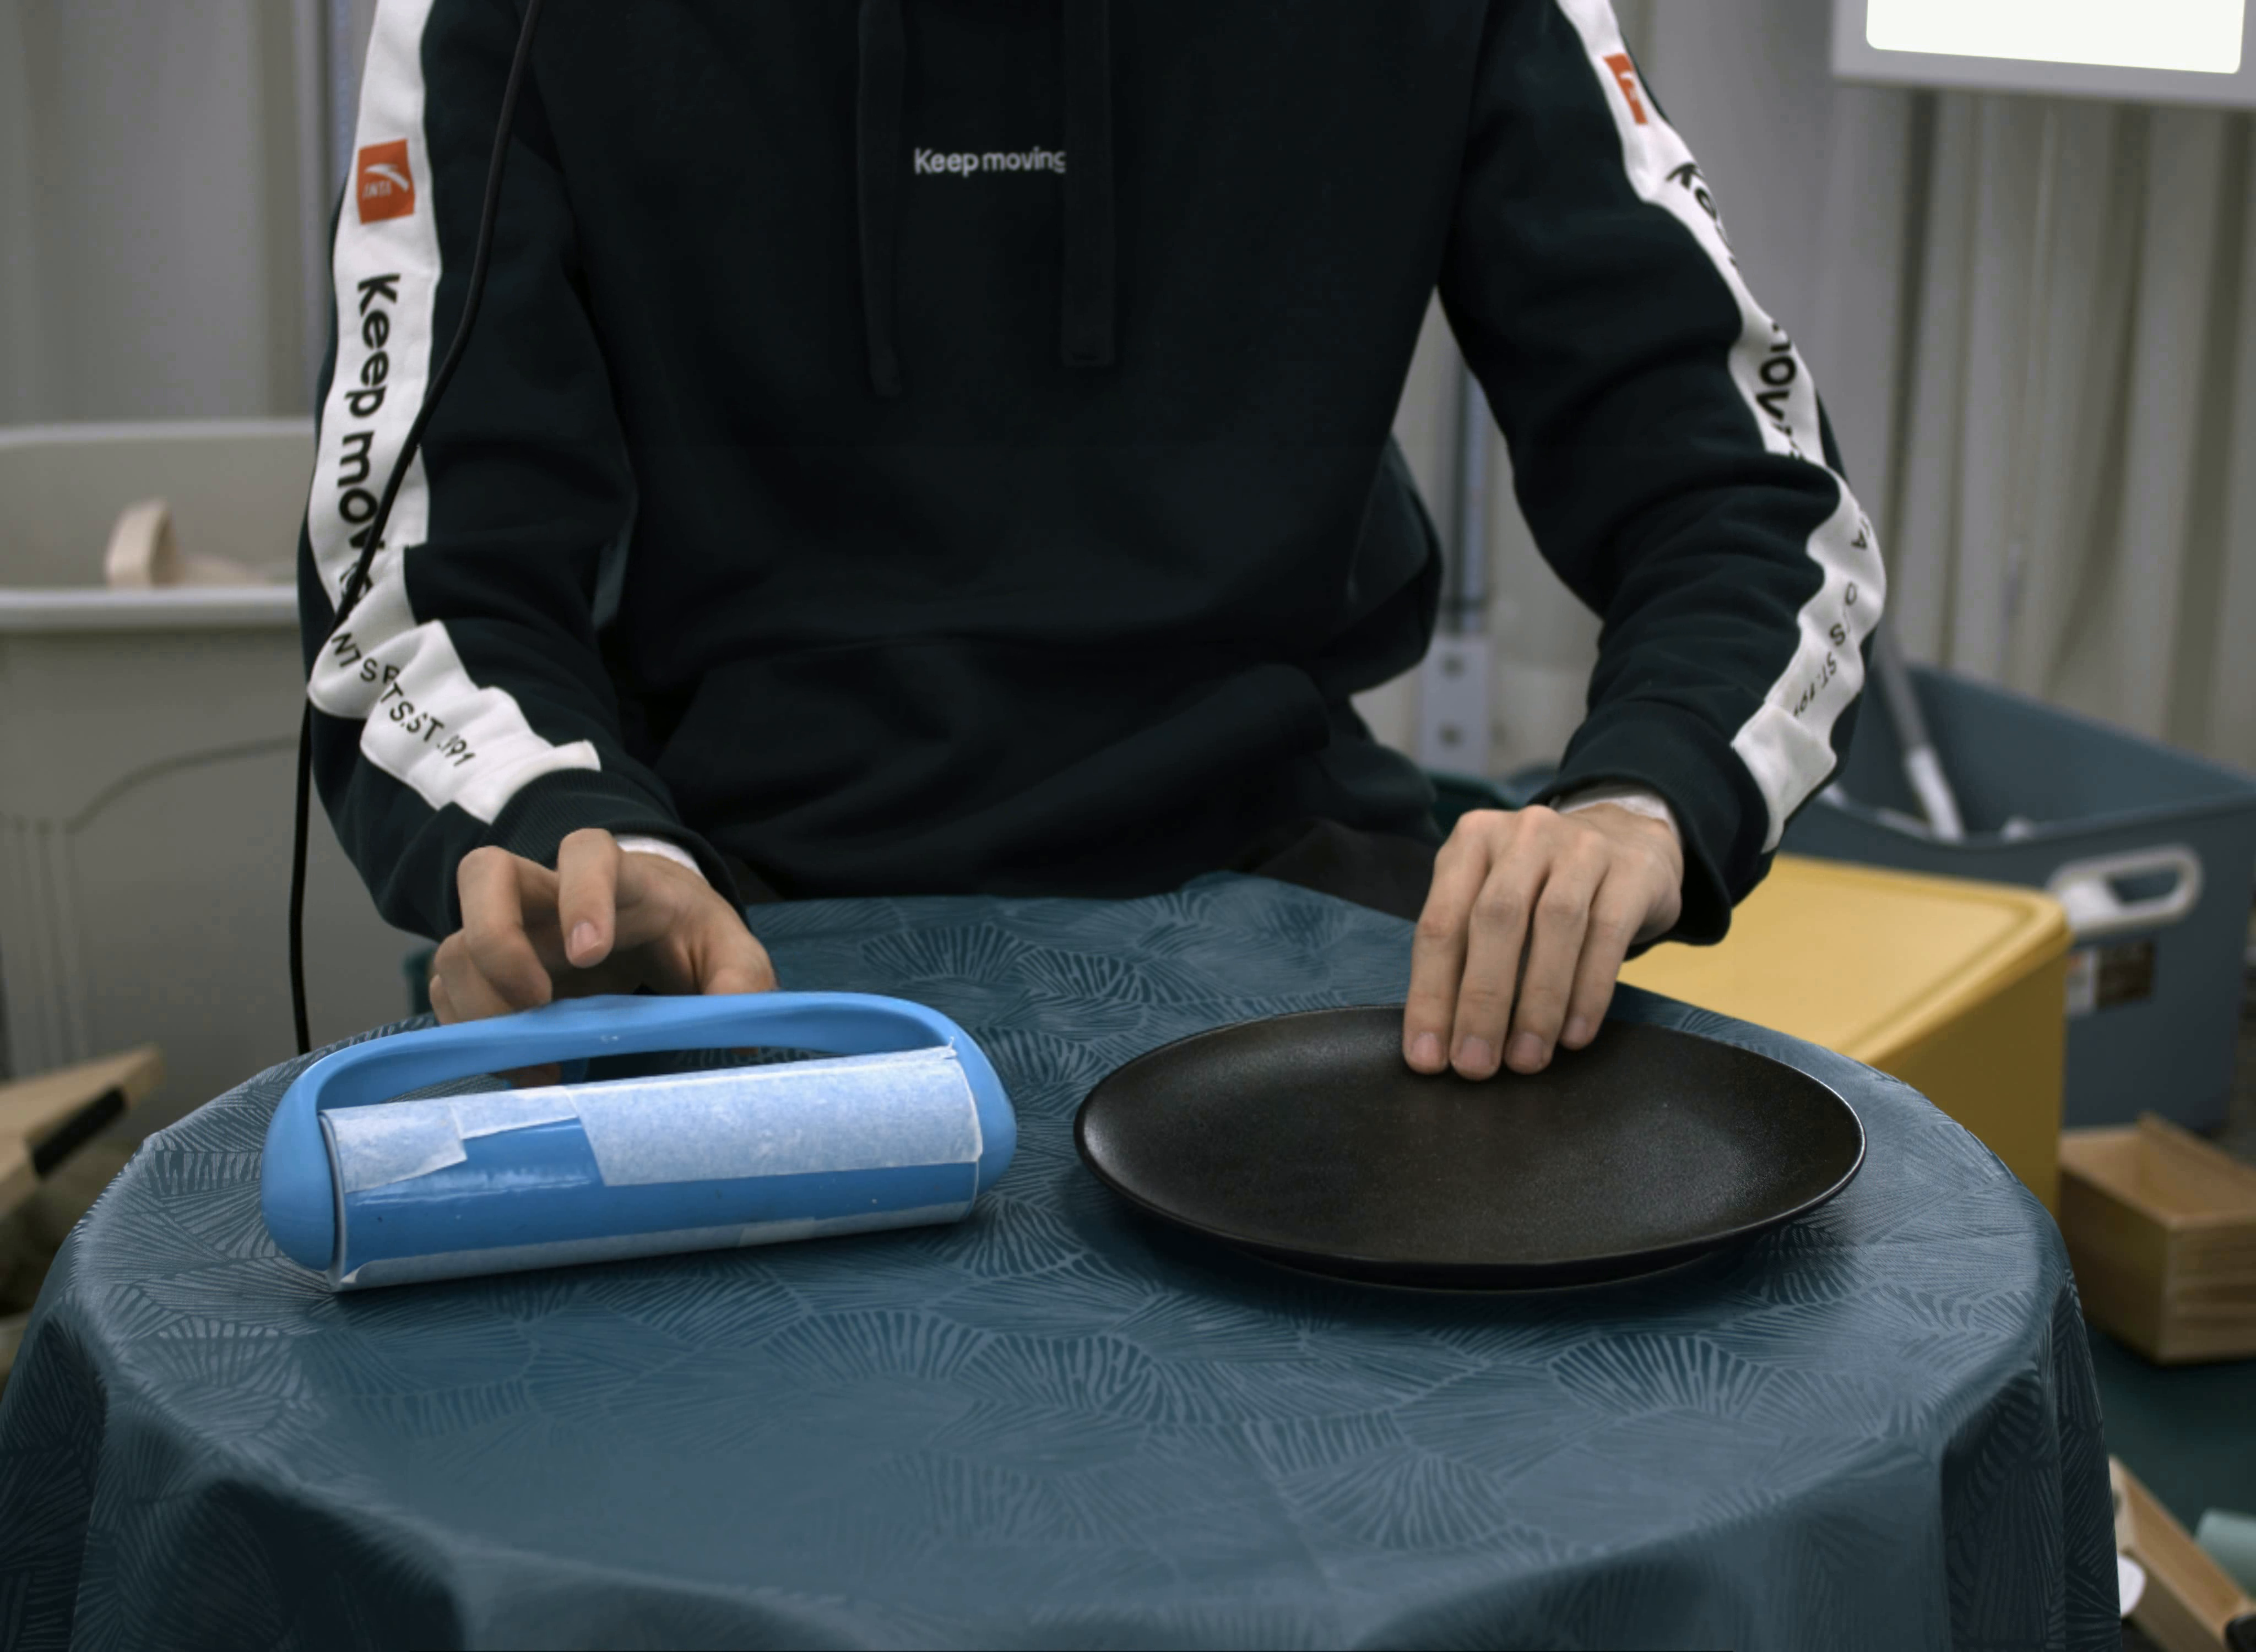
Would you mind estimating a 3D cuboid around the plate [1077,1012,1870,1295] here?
[{"bbox_3d":[0.106,0.102,1.618,0.243,0.023,0.243,1,15,0],"label":"plate"}]

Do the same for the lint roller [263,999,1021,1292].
[{"bbox_3d":[-0.163,0.086,1.606,0.229,0.068,0.178,-7,16,-22],"label":"lint roller"}]
